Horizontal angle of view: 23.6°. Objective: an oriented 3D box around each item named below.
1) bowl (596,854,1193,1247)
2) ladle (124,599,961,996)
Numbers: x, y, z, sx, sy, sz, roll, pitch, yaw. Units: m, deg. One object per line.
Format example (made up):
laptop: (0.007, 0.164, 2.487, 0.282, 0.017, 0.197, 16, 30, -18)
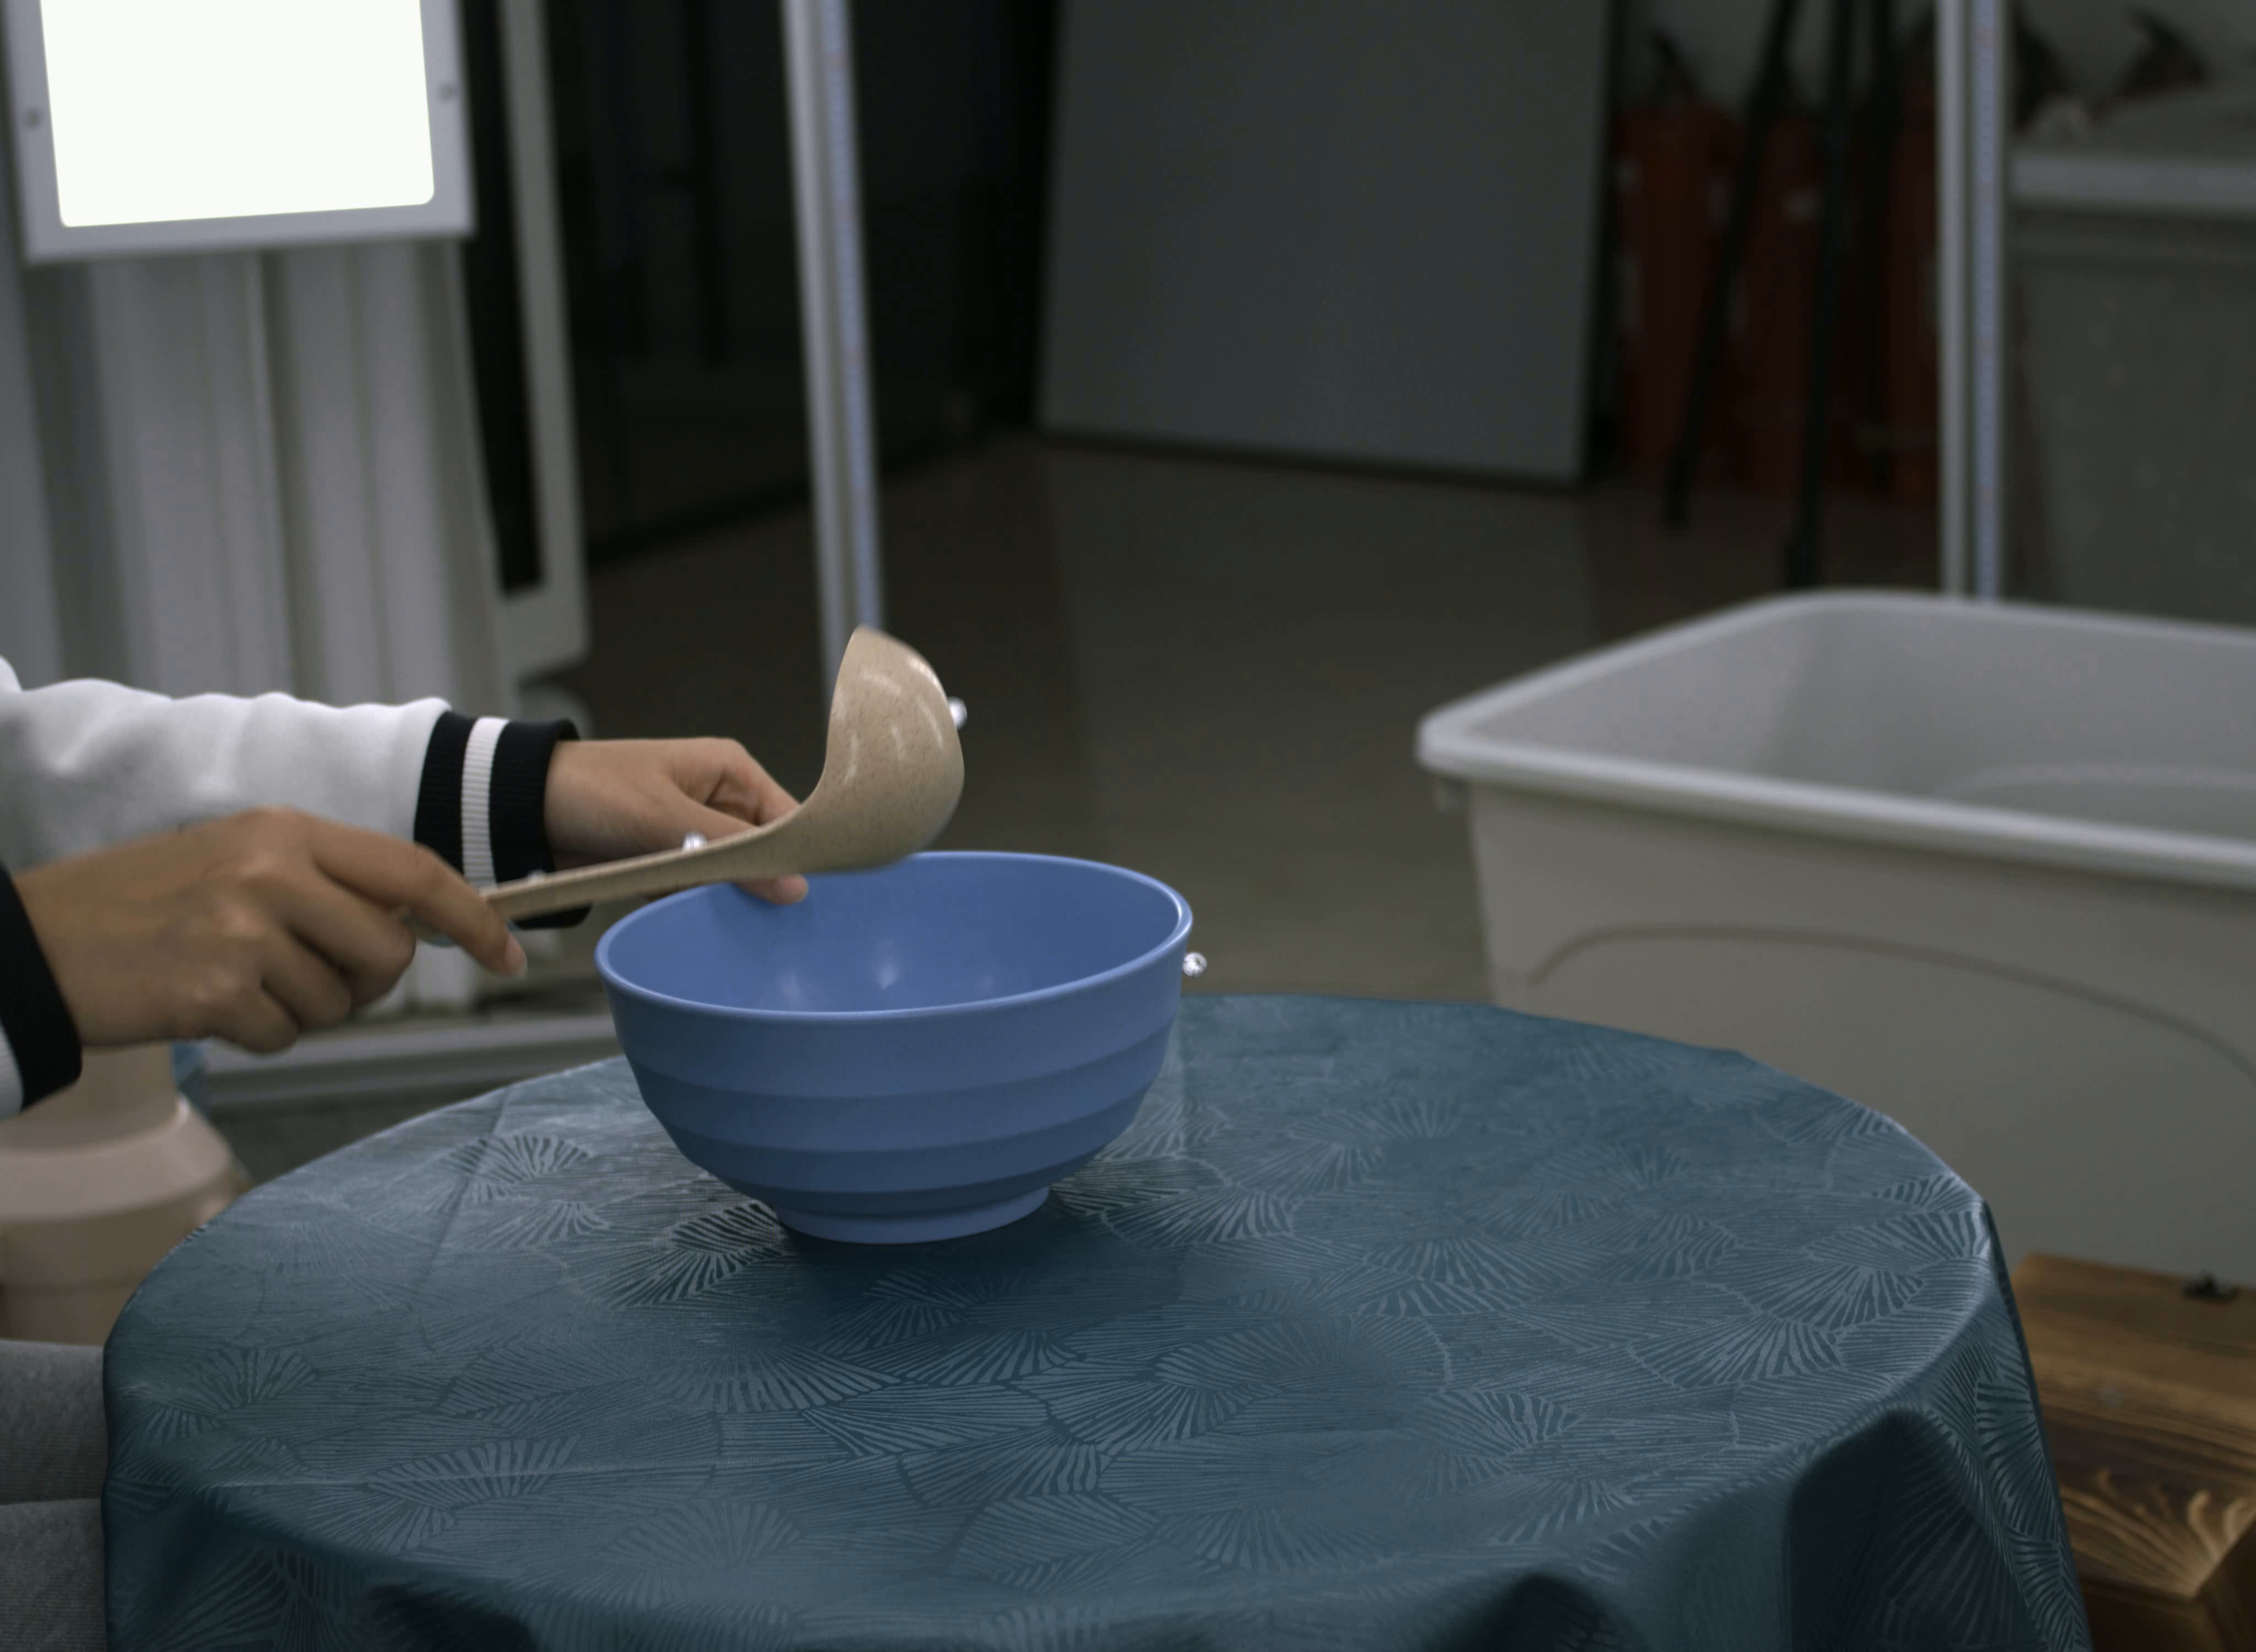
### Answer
bowl: (-0.074, 0.078, 1.765, 0.194, 0.096, 0.197, -2, 13, 0)
ladle: (-0.174, -0.007, 1.581, 0.250, 0.072, 0.074, -13, 48, -10)
